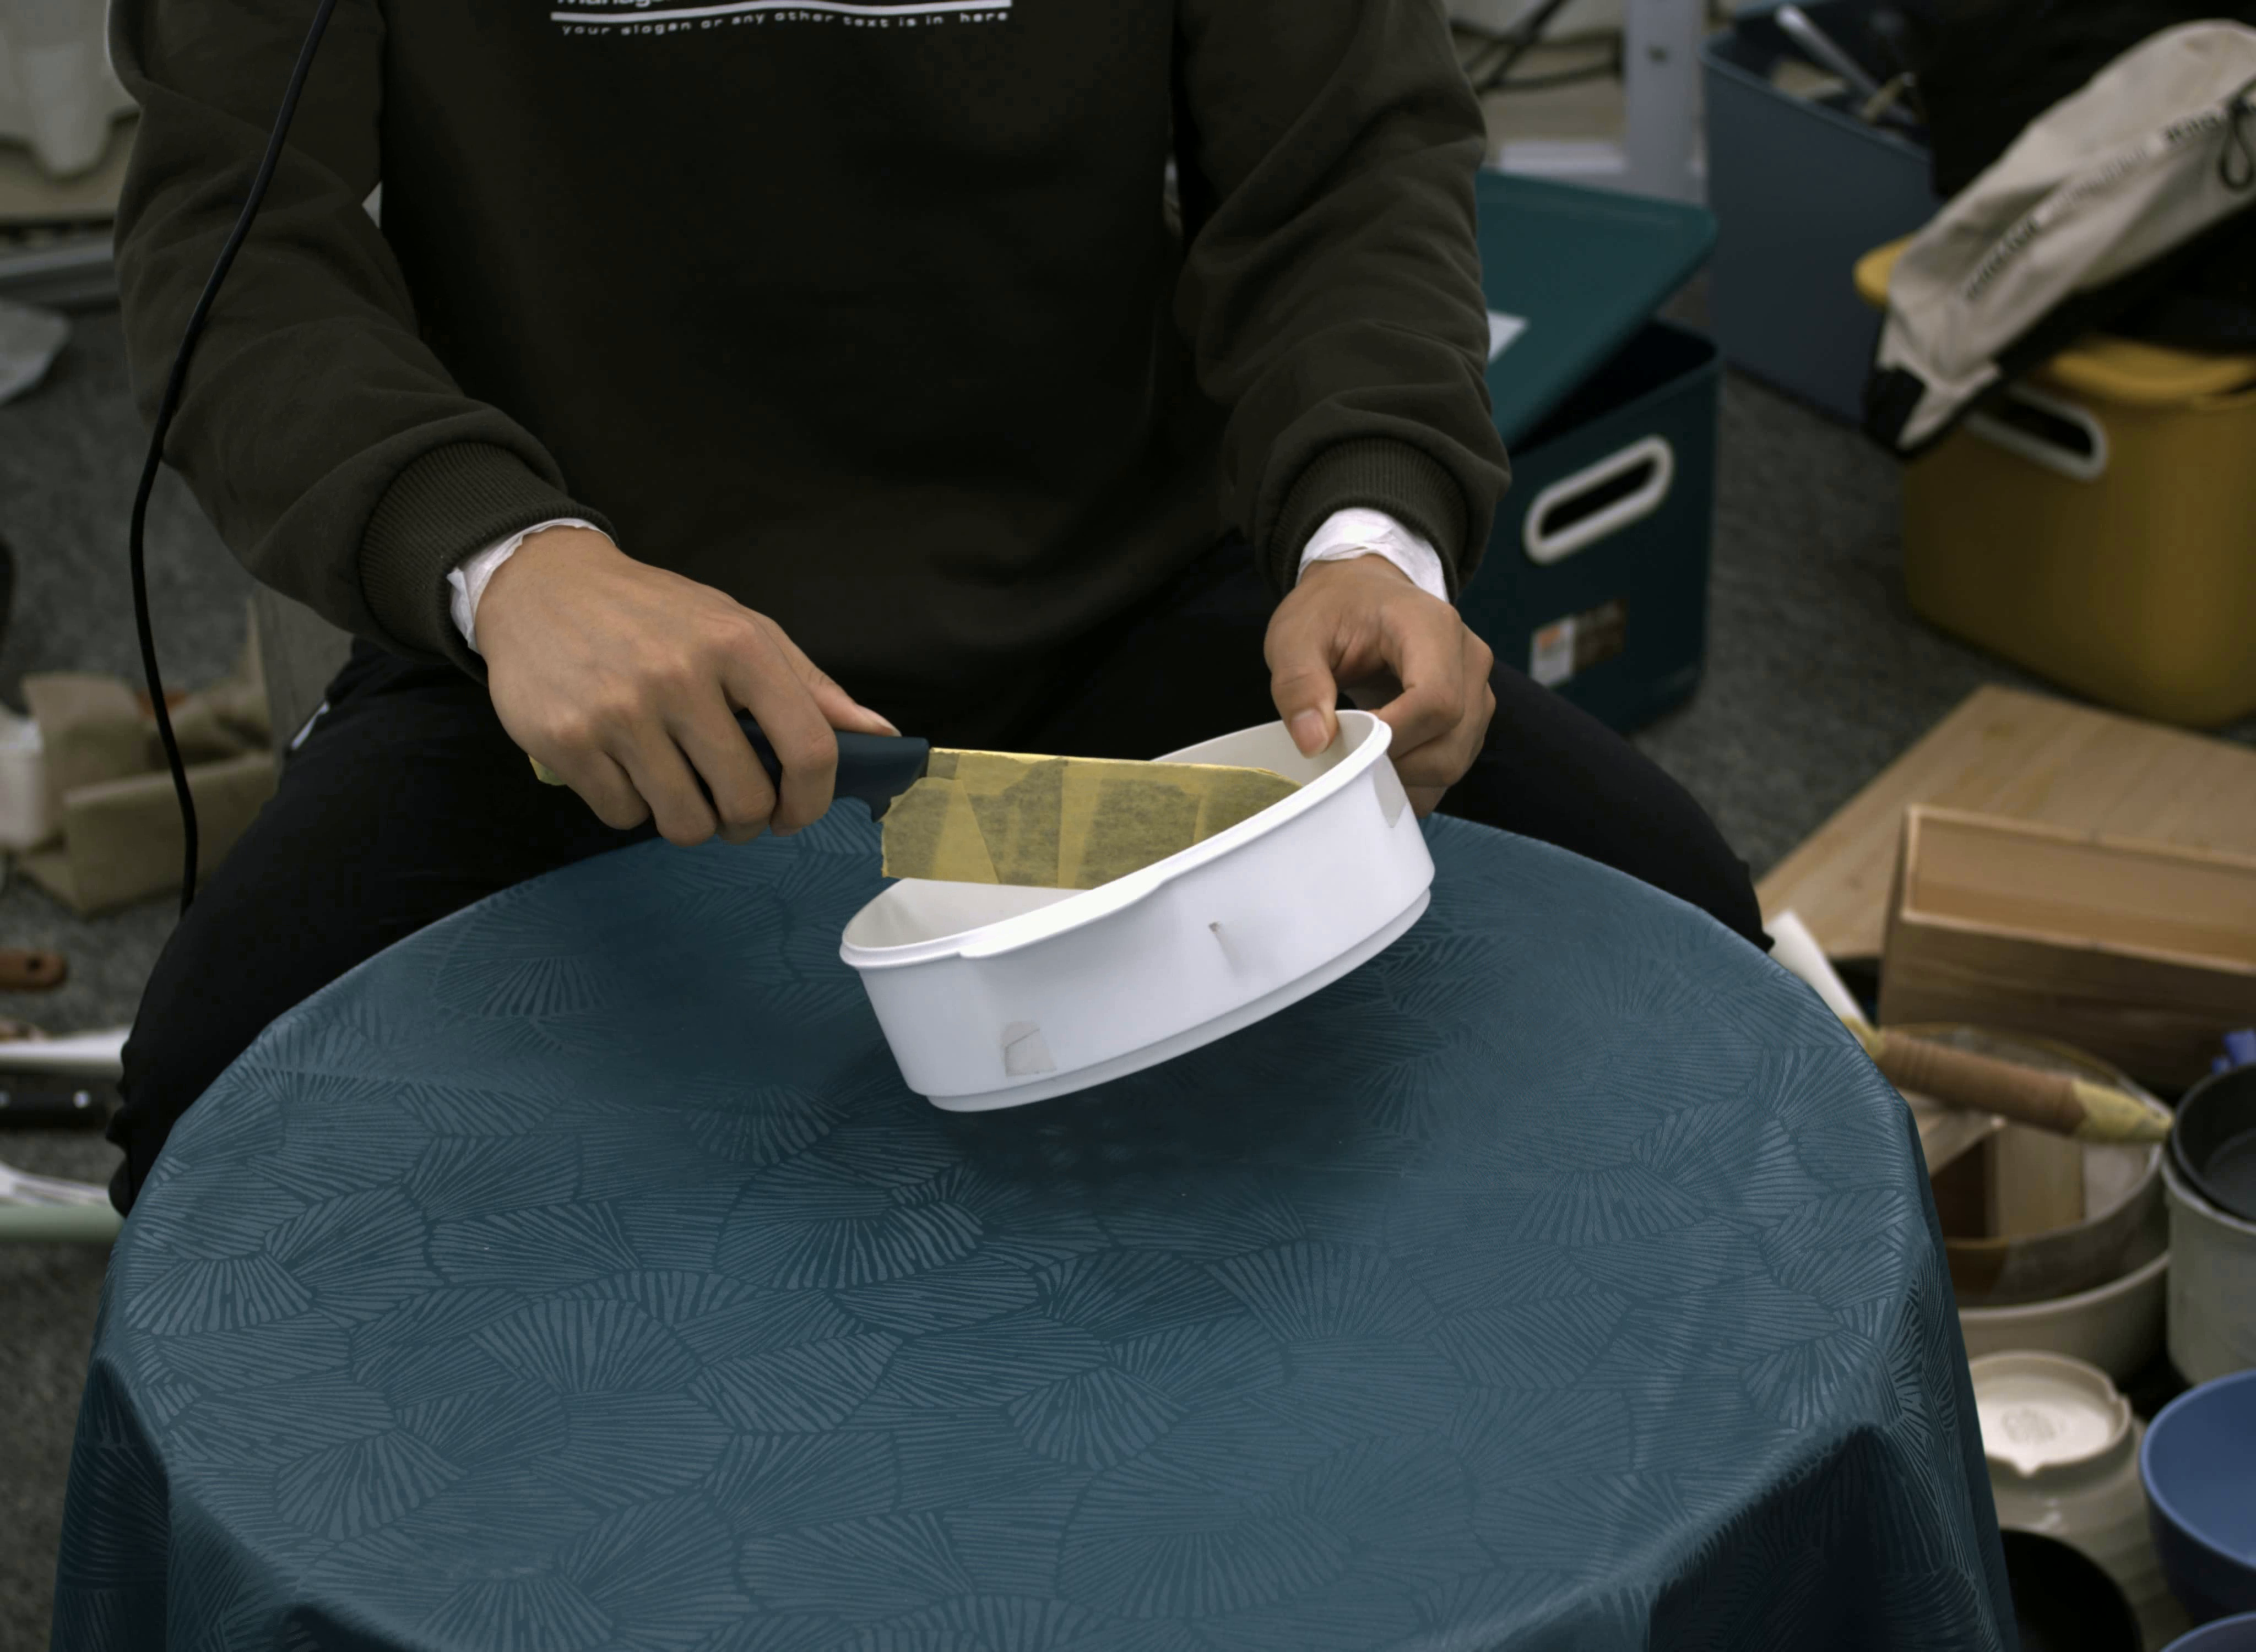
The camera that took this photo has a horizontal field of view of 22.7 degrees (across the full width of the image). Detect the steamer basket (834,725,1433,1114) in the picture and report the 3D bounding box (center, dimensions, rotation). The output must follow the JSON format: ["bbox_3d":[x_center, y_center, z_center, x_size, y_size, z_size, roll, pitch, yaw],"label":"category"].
[{"bbox_3d":[0.005,0.033,1.892,0.200,0.069,0.233,-19,8,15],"label":"steamer basket"}]

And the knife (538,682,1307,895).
[{"bbox_3d":[-0.058,-0.008,1.913,0.288,0.080,0.028,9,42,-1],"label":"knife"}]
